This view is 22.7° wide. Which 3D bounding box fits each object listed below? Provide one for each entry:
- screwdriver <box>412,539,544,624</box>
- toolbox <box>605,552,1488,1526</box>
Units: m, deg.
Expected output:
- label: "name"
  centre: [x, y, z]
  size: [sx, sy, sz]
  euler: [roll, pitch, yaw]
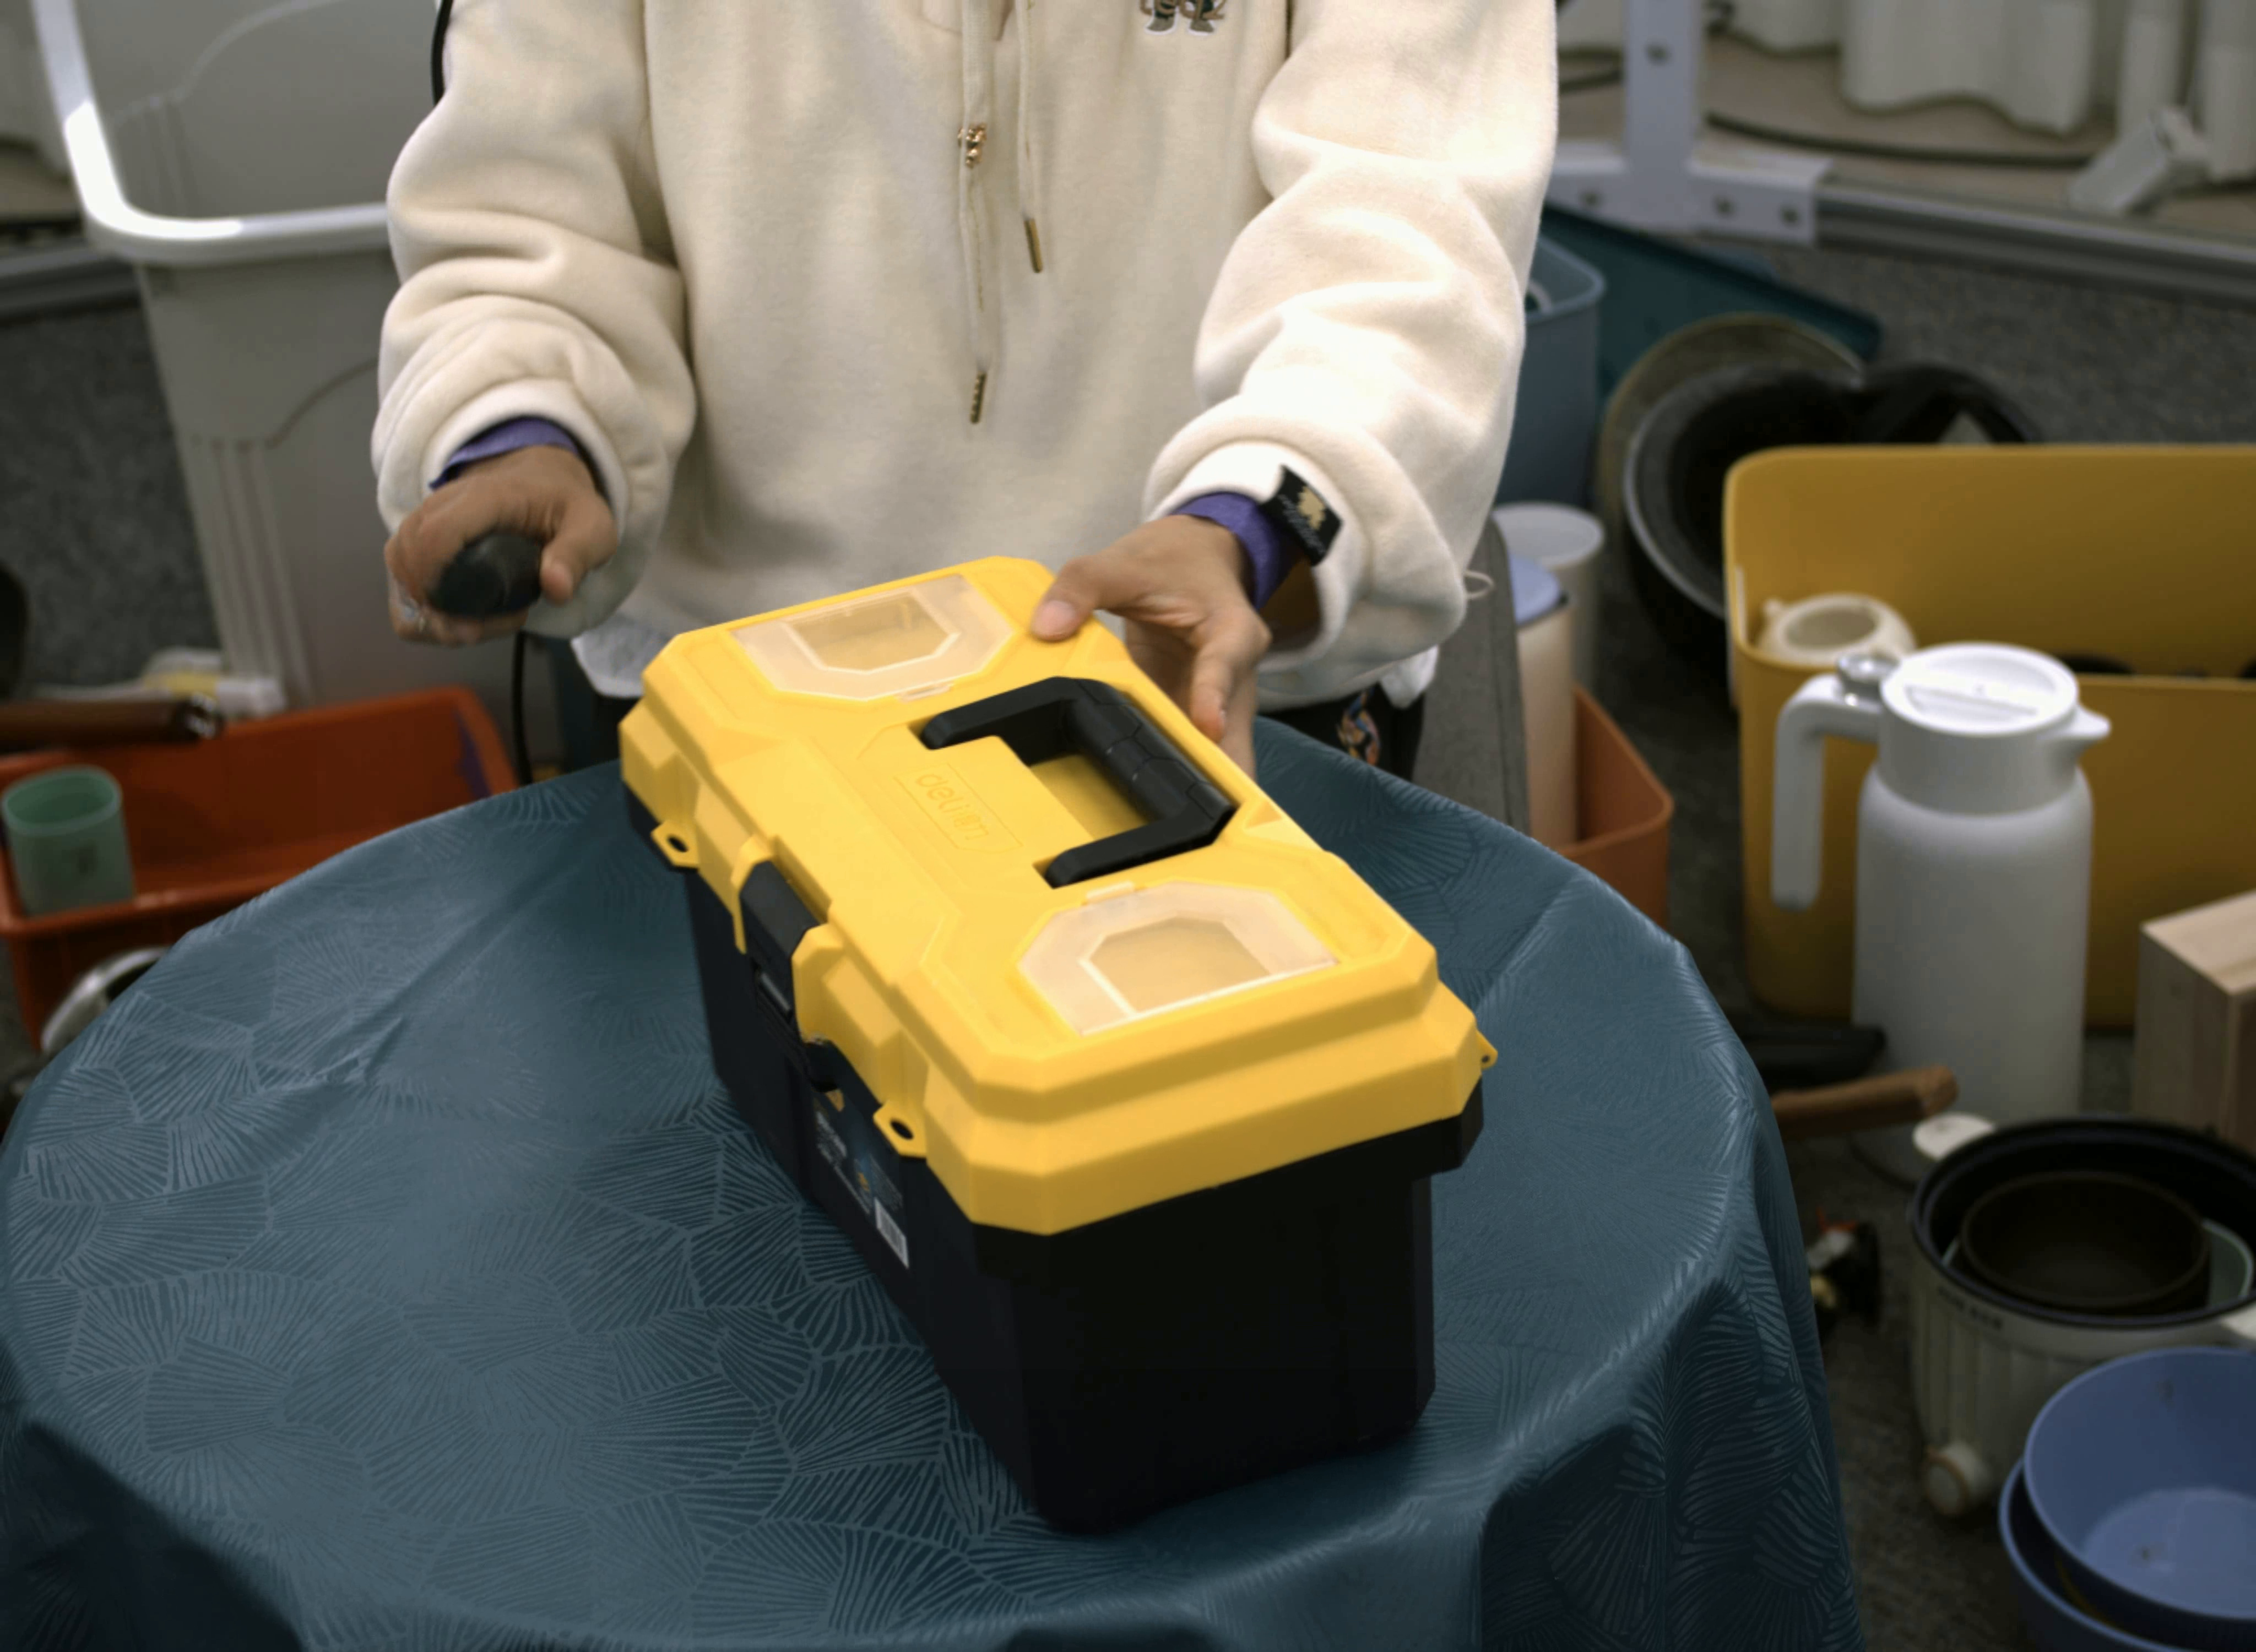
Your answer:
- label: "screwdriver"
  centre: [-0.228, -0.080, 1.944]
  size: [0.031, 0.031, 0.198]
  euler: [-1, 6, 3]
- label: "toolbox"
  centre: [-0.031, 0.061, 1.792]
  size: [0.182, 0.171, 0.354]
  euler: [-14, 29, -19]
